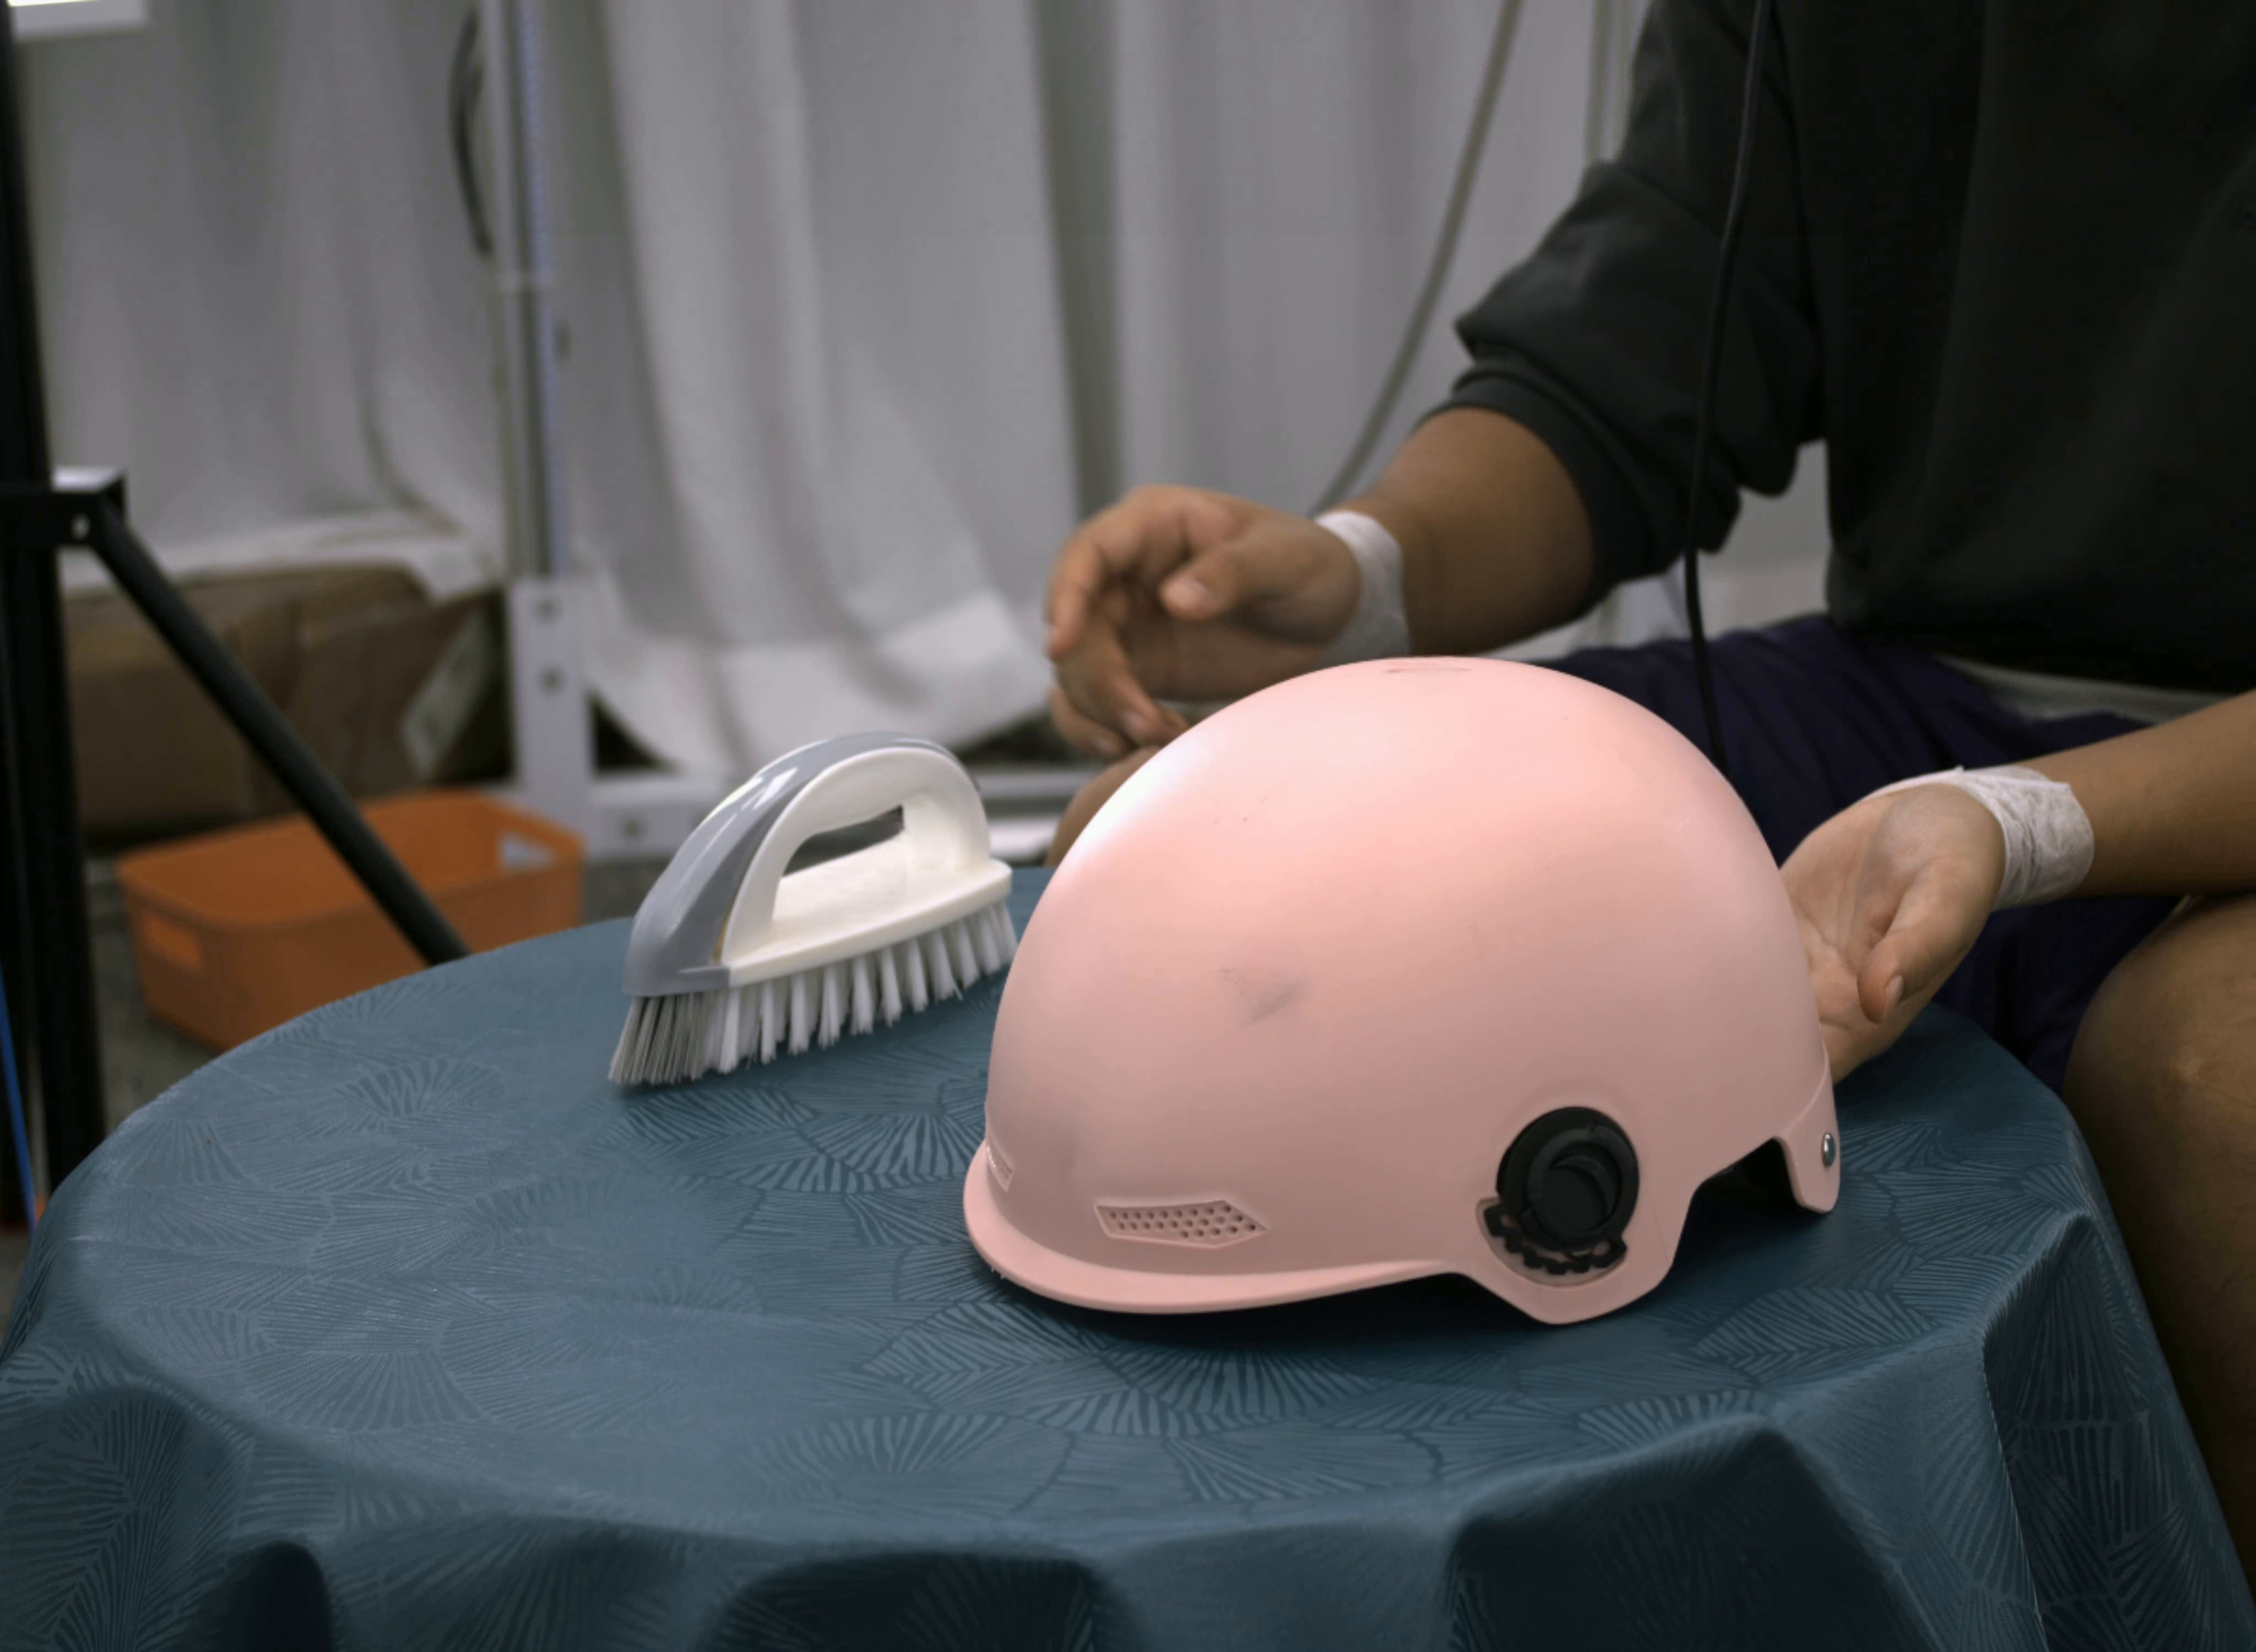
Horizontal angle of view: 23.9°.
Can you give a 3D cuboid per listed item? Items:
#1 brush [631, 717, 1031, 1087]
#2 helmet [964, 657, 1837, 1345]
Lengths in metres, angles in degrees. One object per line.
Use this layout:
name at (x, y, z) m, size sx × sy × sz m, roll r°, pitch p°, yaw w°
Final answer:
brush at (-0.104, 0.020, 1.720) m, size 0.063 × 0.094 × 0.172 m, roll 9°, pitch 21°, yaw 37°
helmet at (0.074, 0.039, 1.518) m, size 0.260 × 0.158 × 0.239 m, roll -17°, pitch 22°, yaw -32°
